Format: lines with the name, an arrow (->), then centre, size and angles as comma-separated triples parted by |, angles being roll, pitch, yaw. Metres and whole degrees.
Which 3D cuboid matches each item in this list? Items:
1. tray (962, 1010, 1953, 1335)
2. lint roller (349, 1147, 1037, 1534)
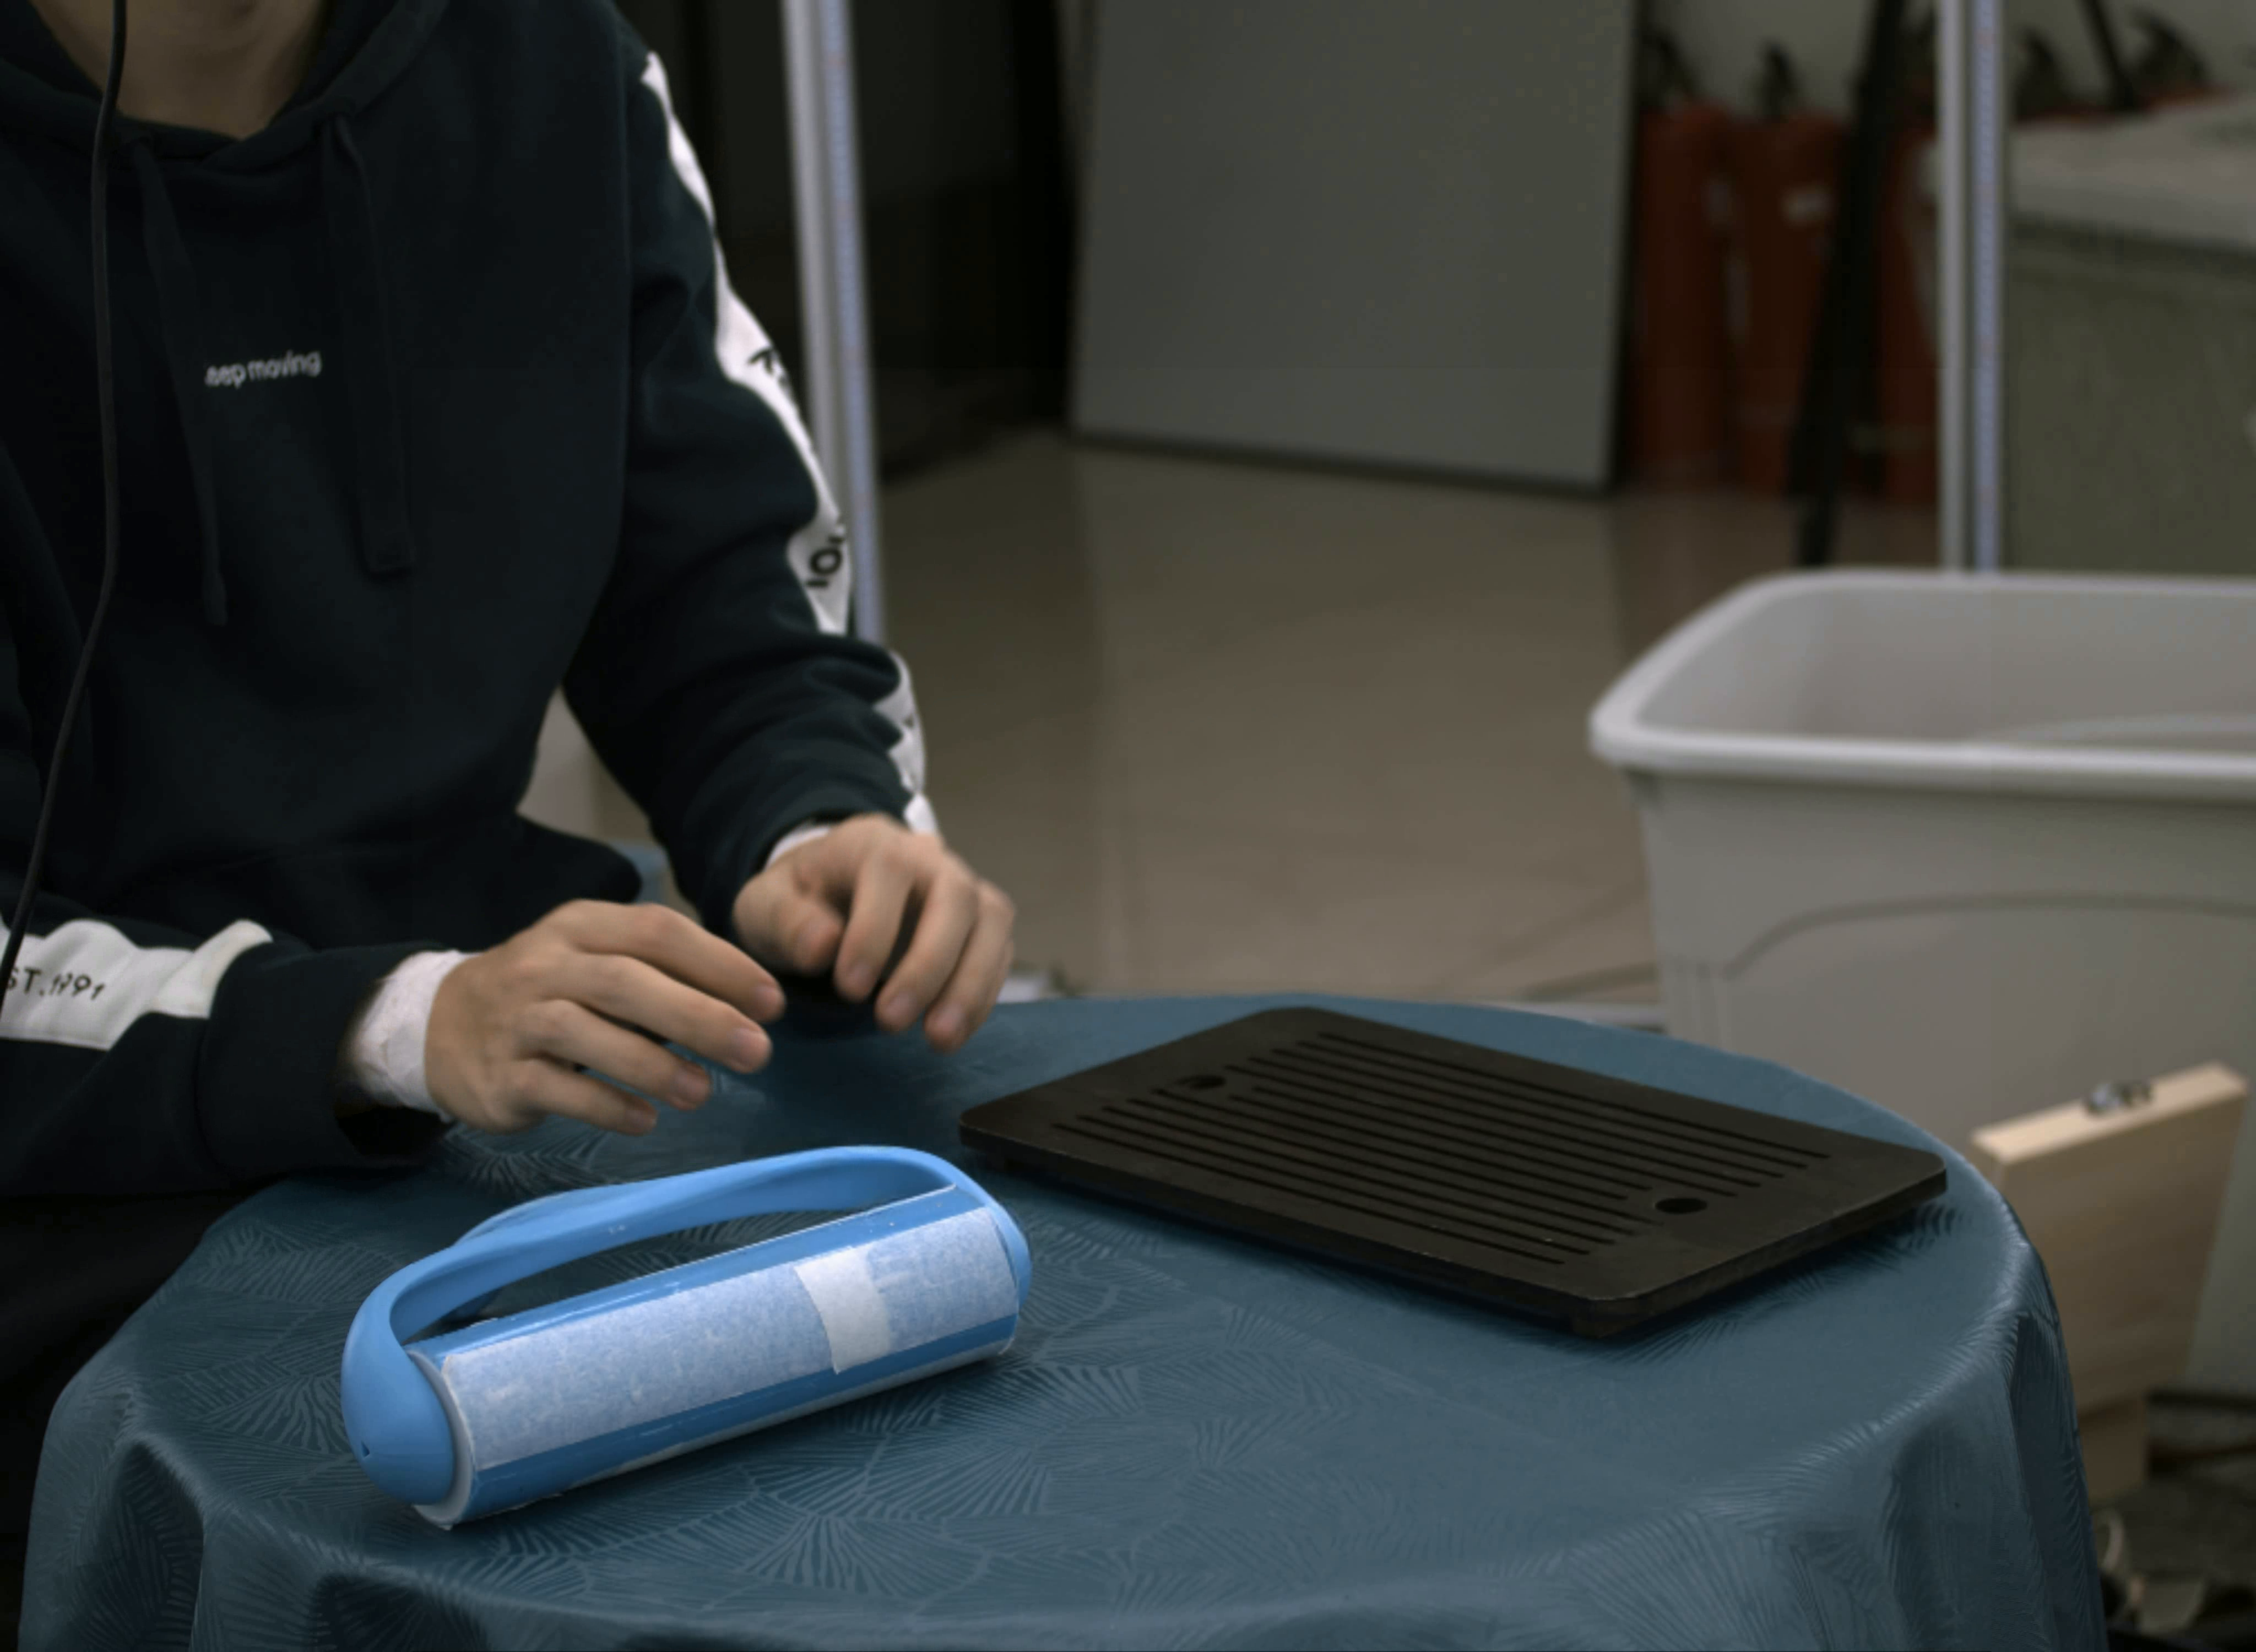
tray -> 0.103, 0.109, 1.751 | 0.166, 0.019, 0.309 | -16, 18, -40
lint roller -> -0.159, 0.142, 1.612 | 0.224, 0.068, 0.182 | -17, 20, -36
